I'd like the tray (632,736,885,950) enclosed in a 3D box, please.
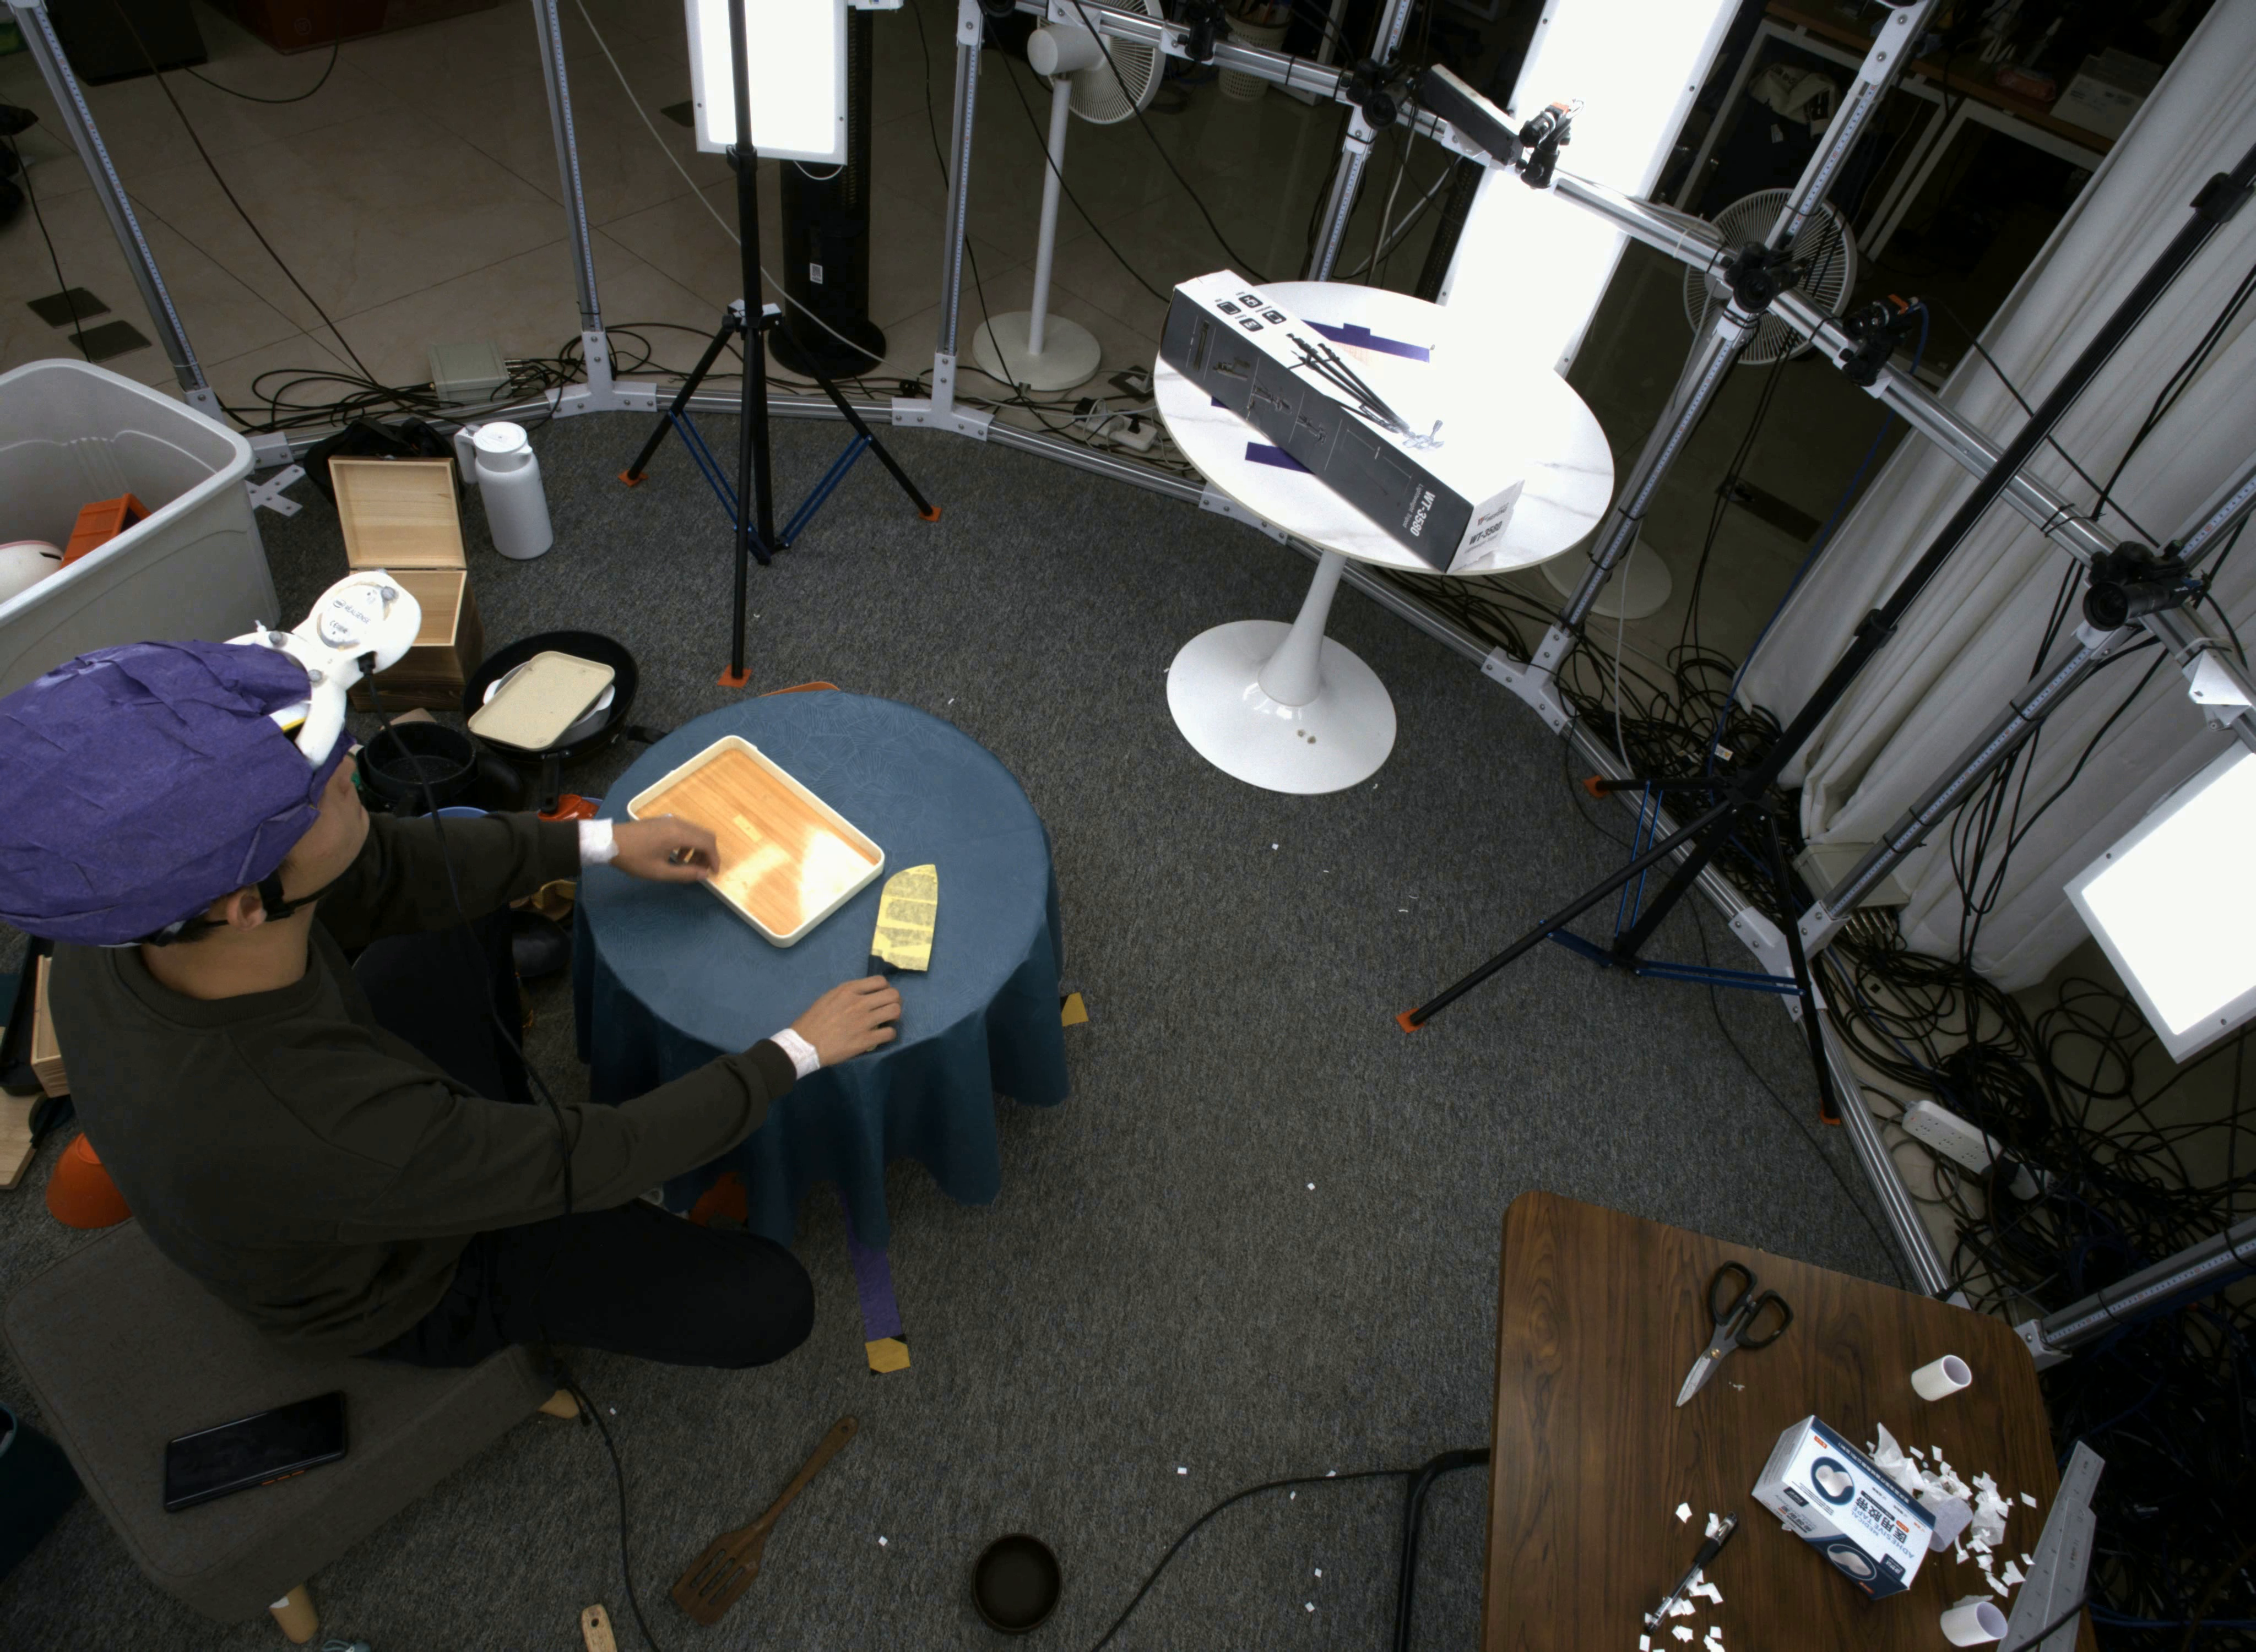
[{"bbox_3d":[-0.484,0.015,1.692,0.294,0.028,0.191,37,55,14],"label":"tray"}]

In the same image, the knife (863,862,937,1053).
[{"bbox_3d":[-0.287,0.157,1.643,0.080,0.028,0.284,10,51,-5],"label":"knife"}]
